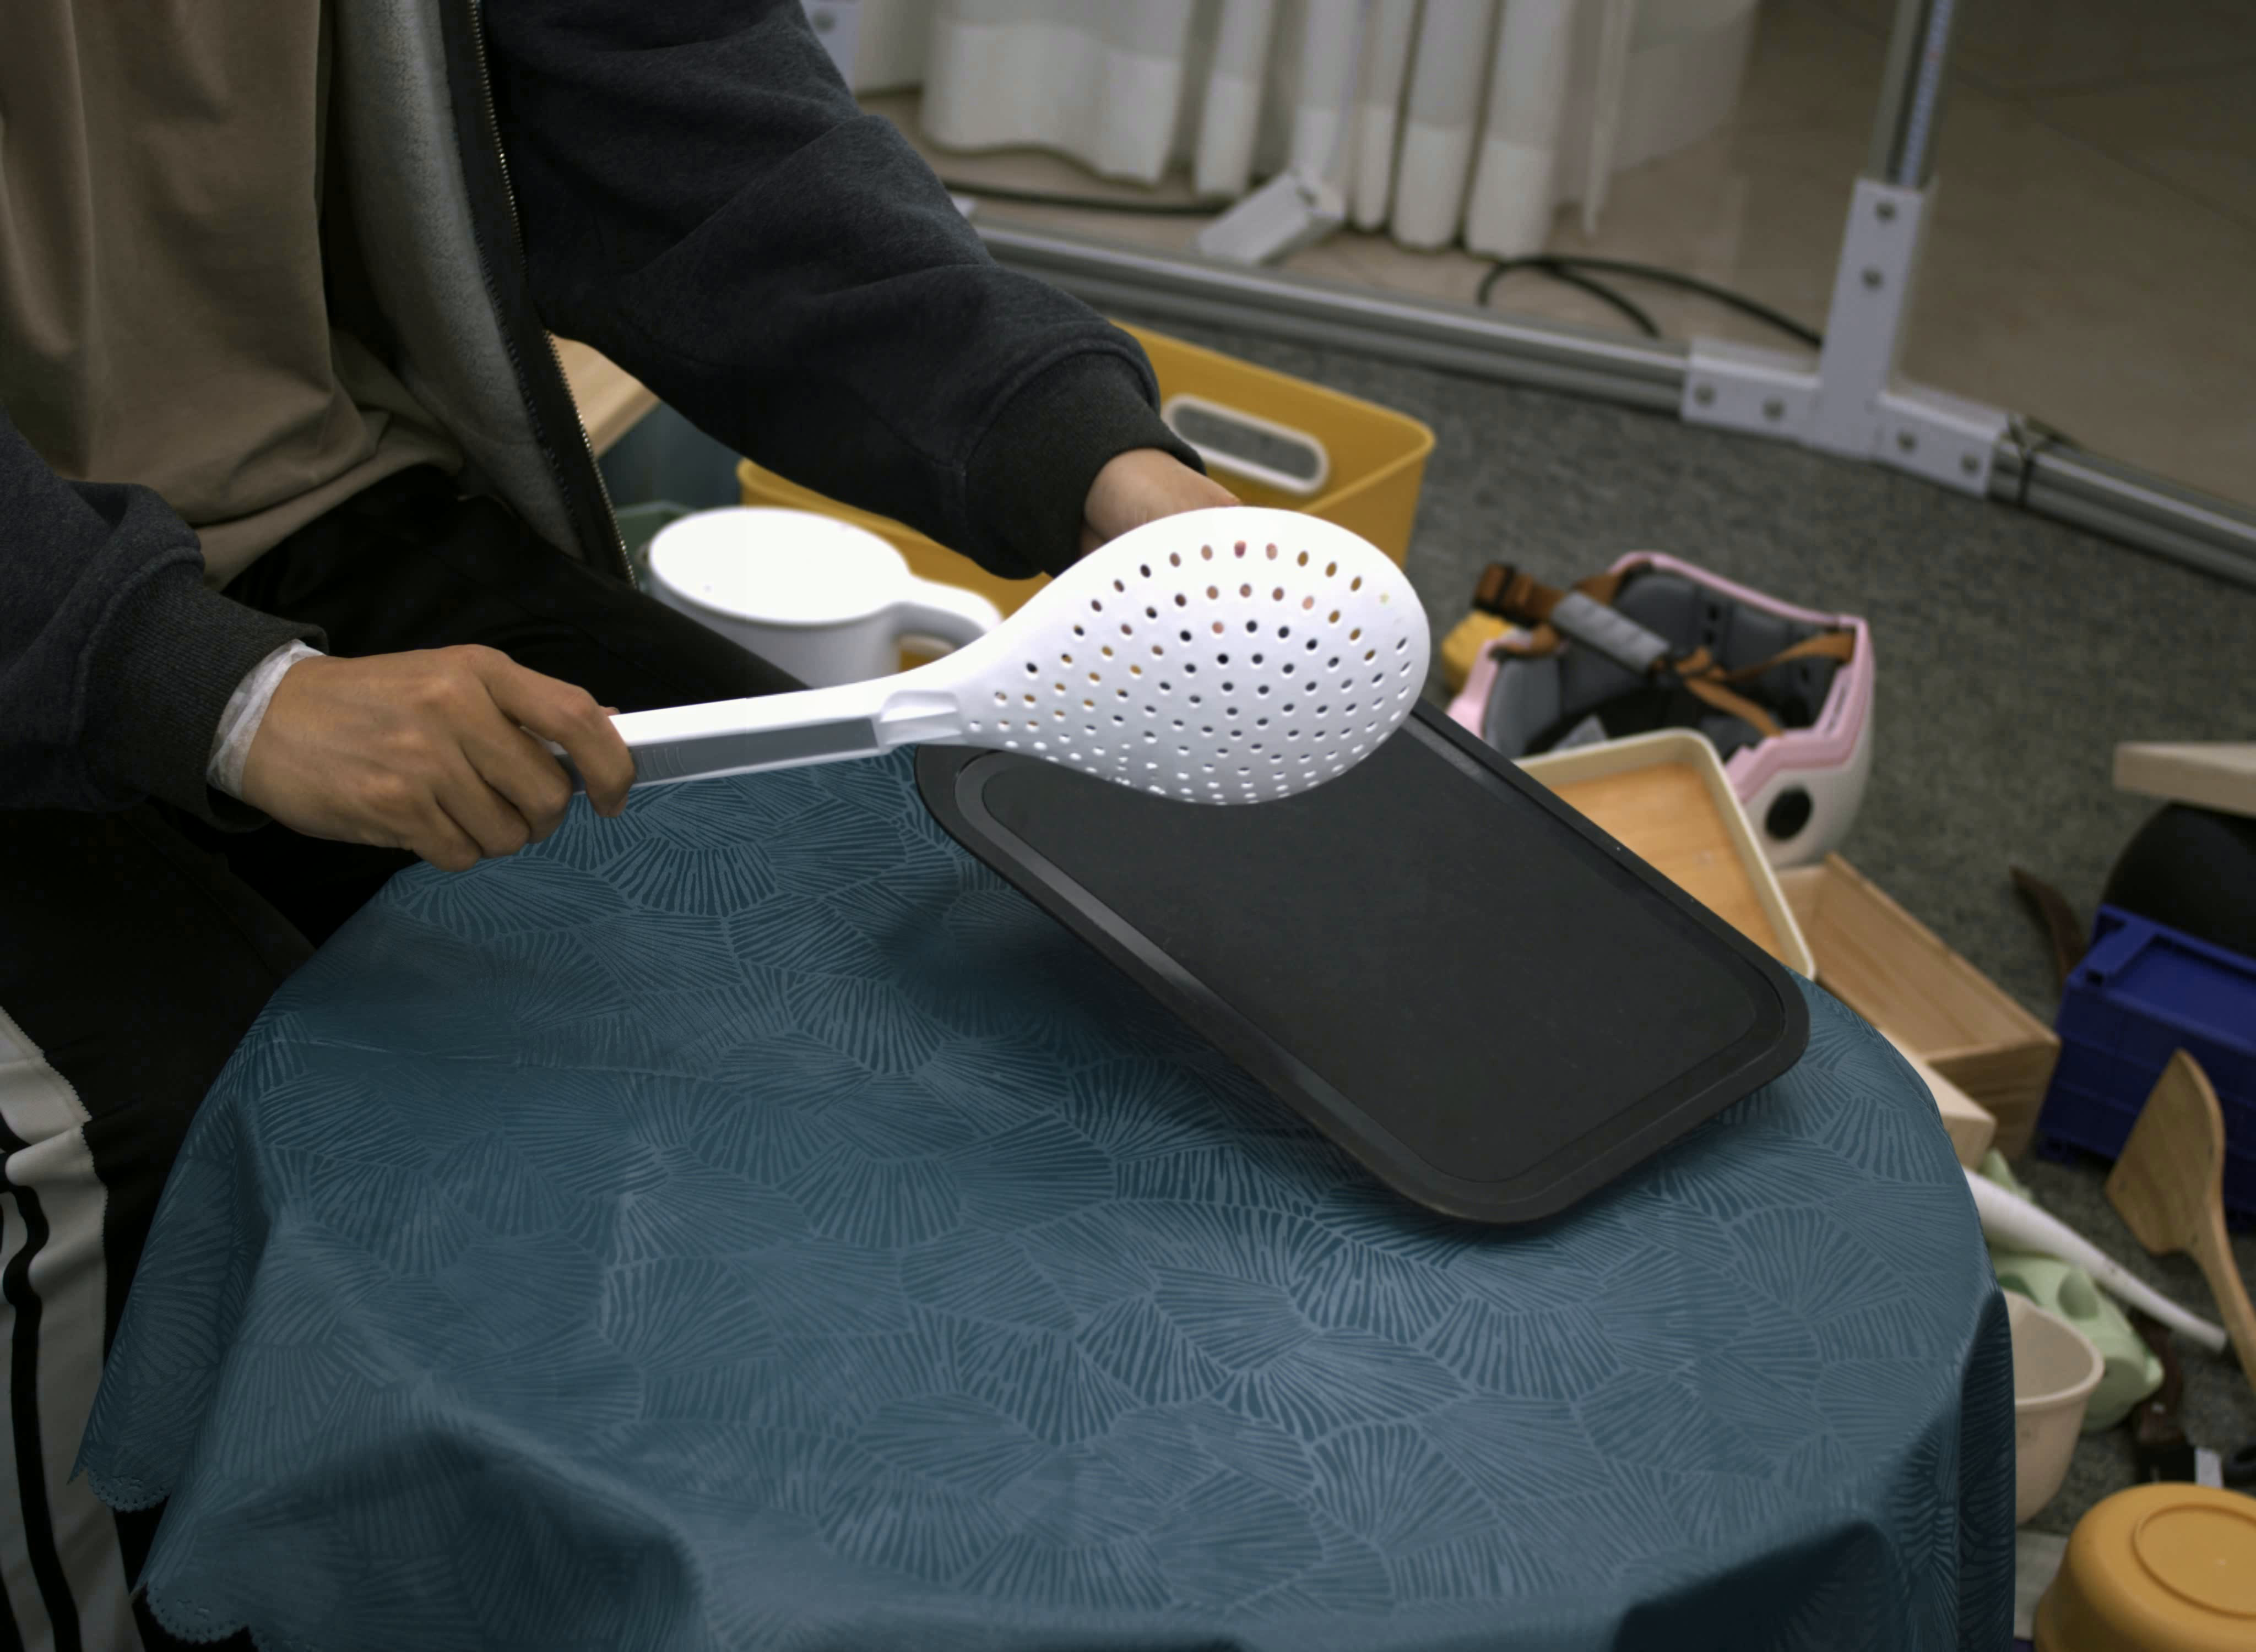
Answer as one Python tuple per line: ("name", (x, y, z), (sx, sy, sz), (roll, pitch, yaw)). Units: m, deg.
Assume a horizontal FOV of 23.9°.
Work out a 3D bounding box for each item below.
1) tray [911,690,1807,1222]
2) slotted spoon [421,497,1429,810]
("tray", (0.076, 0.020, 1.914), (0.210, 0.010, 0.328), (-26, 52, -38))
("slotted spoon", (-0.071, -0.041, 1.826), (0.349, 0.135, 0.046), (-4, 43, 9))
